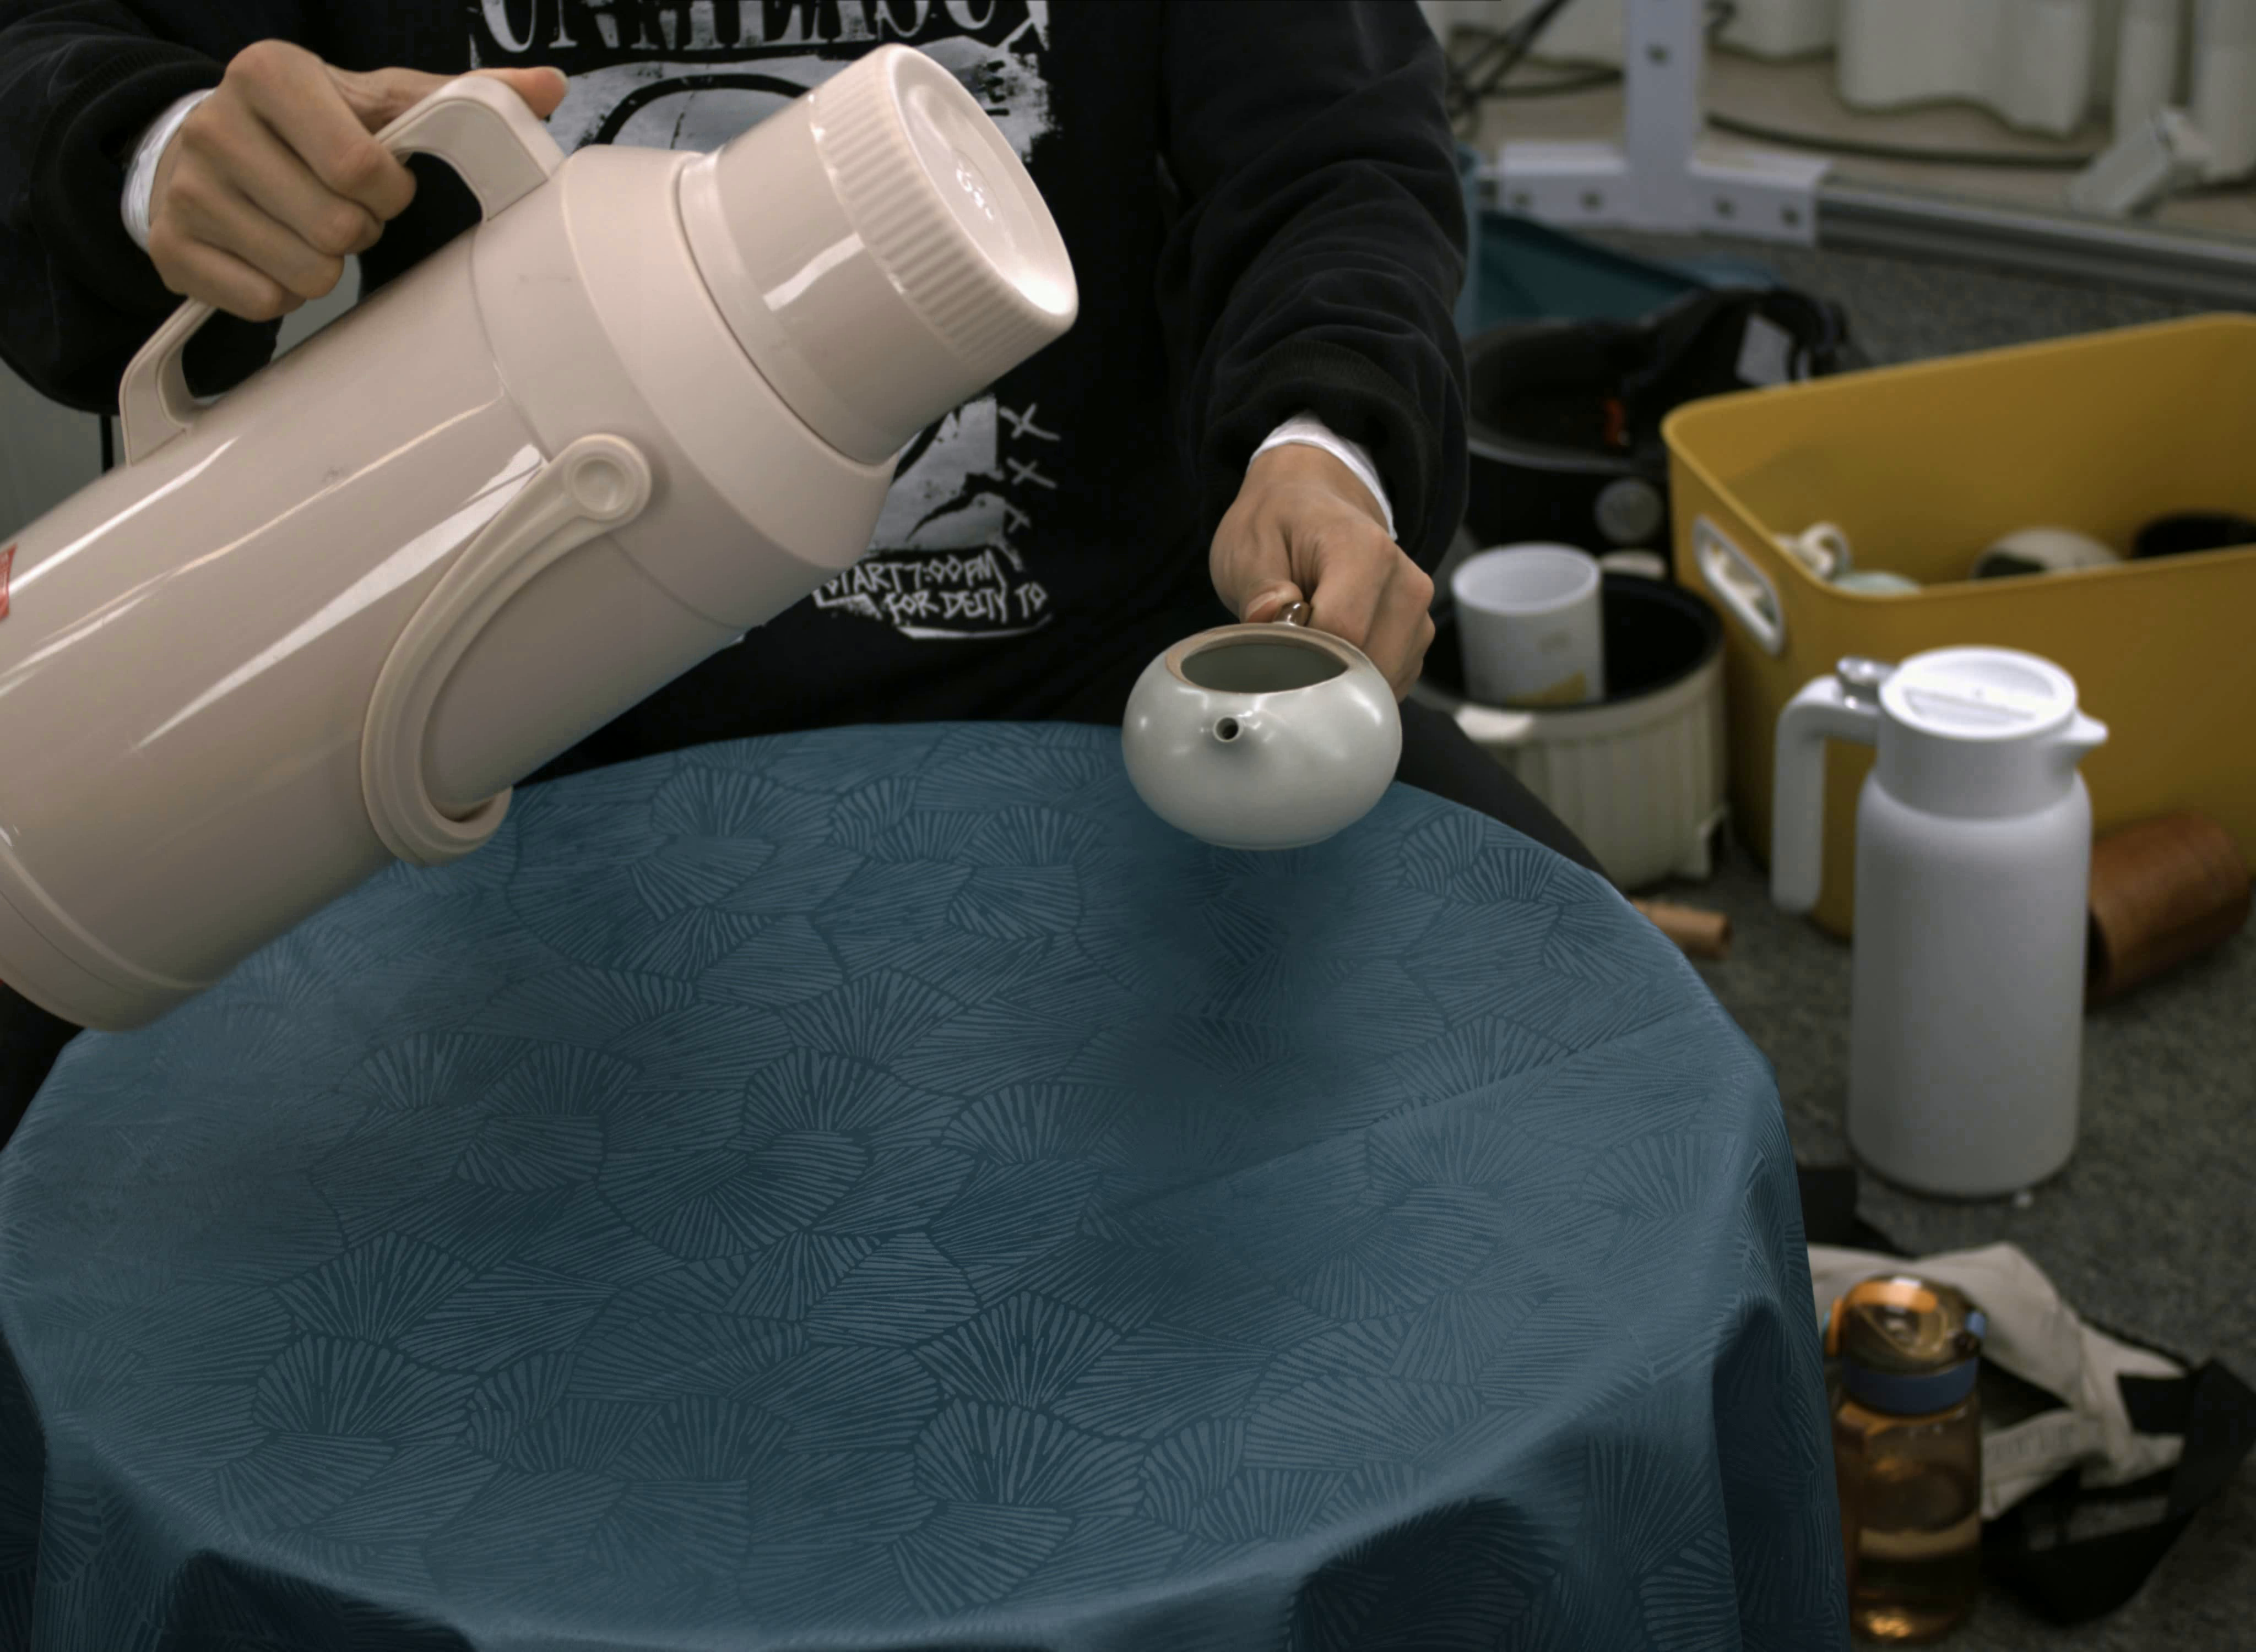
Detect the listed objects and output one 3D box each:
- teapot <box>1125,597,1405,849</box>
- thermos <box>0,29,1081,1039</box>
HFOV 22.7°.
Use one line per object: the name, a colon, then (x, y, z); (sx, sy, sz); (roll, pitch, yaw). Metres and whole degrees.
teapot: (0.047, -0.034, 1.842); (0.091, 0.059, 0.130); (0, 23, 12)
thermos: (-0.212, -0.110, 1.795); (0.402, 0.206, 0.178); (-33, 14, 19)
